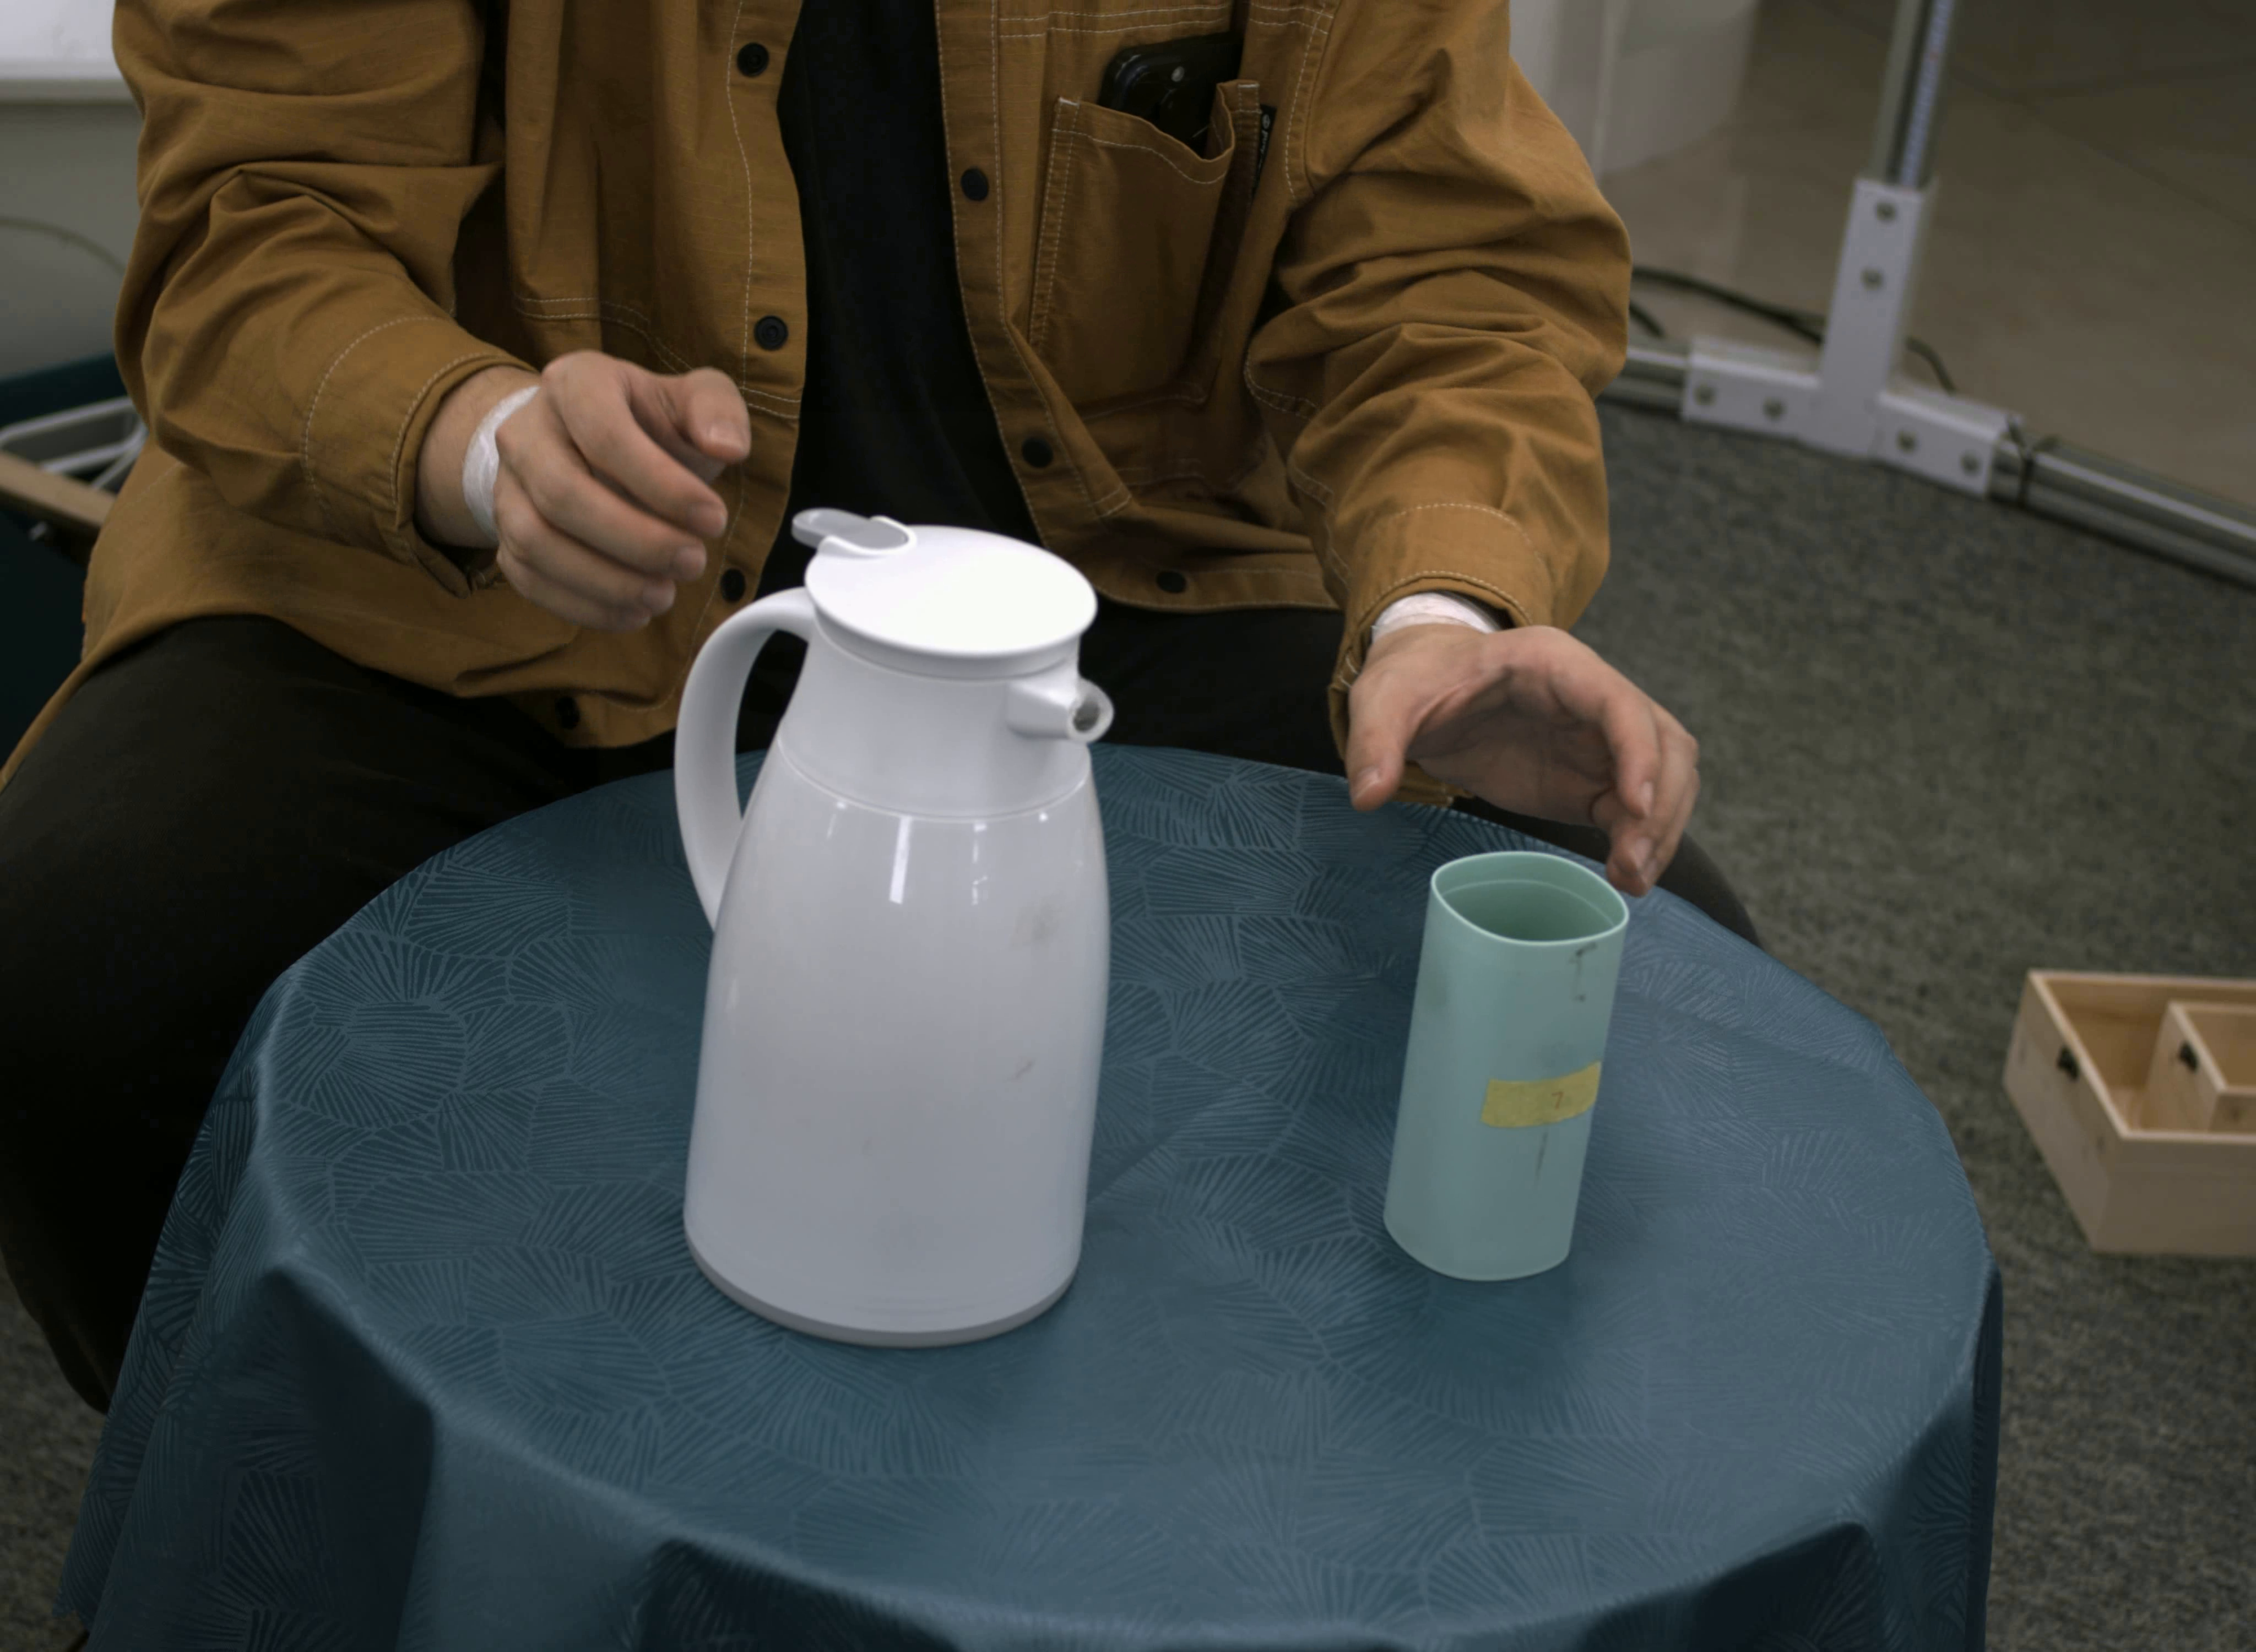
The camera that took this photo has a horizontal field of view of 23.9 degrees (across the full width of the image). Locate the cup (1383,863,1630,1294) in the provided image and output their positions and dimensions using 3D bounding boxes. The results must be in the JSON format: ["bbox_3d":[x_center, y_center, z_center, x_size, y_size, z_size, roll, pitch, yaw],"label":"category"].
[{"bbox_3d":[0.124,0.083,1.776,0.066,0.132,0.067,6,26,-3],"label":"cup"}]

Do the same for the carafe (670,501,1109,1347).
[{"bbox_3d":[-0.084,0.021,1.715,0.169,0.248,0.132,25,32,33],"label":"carafe"}]
